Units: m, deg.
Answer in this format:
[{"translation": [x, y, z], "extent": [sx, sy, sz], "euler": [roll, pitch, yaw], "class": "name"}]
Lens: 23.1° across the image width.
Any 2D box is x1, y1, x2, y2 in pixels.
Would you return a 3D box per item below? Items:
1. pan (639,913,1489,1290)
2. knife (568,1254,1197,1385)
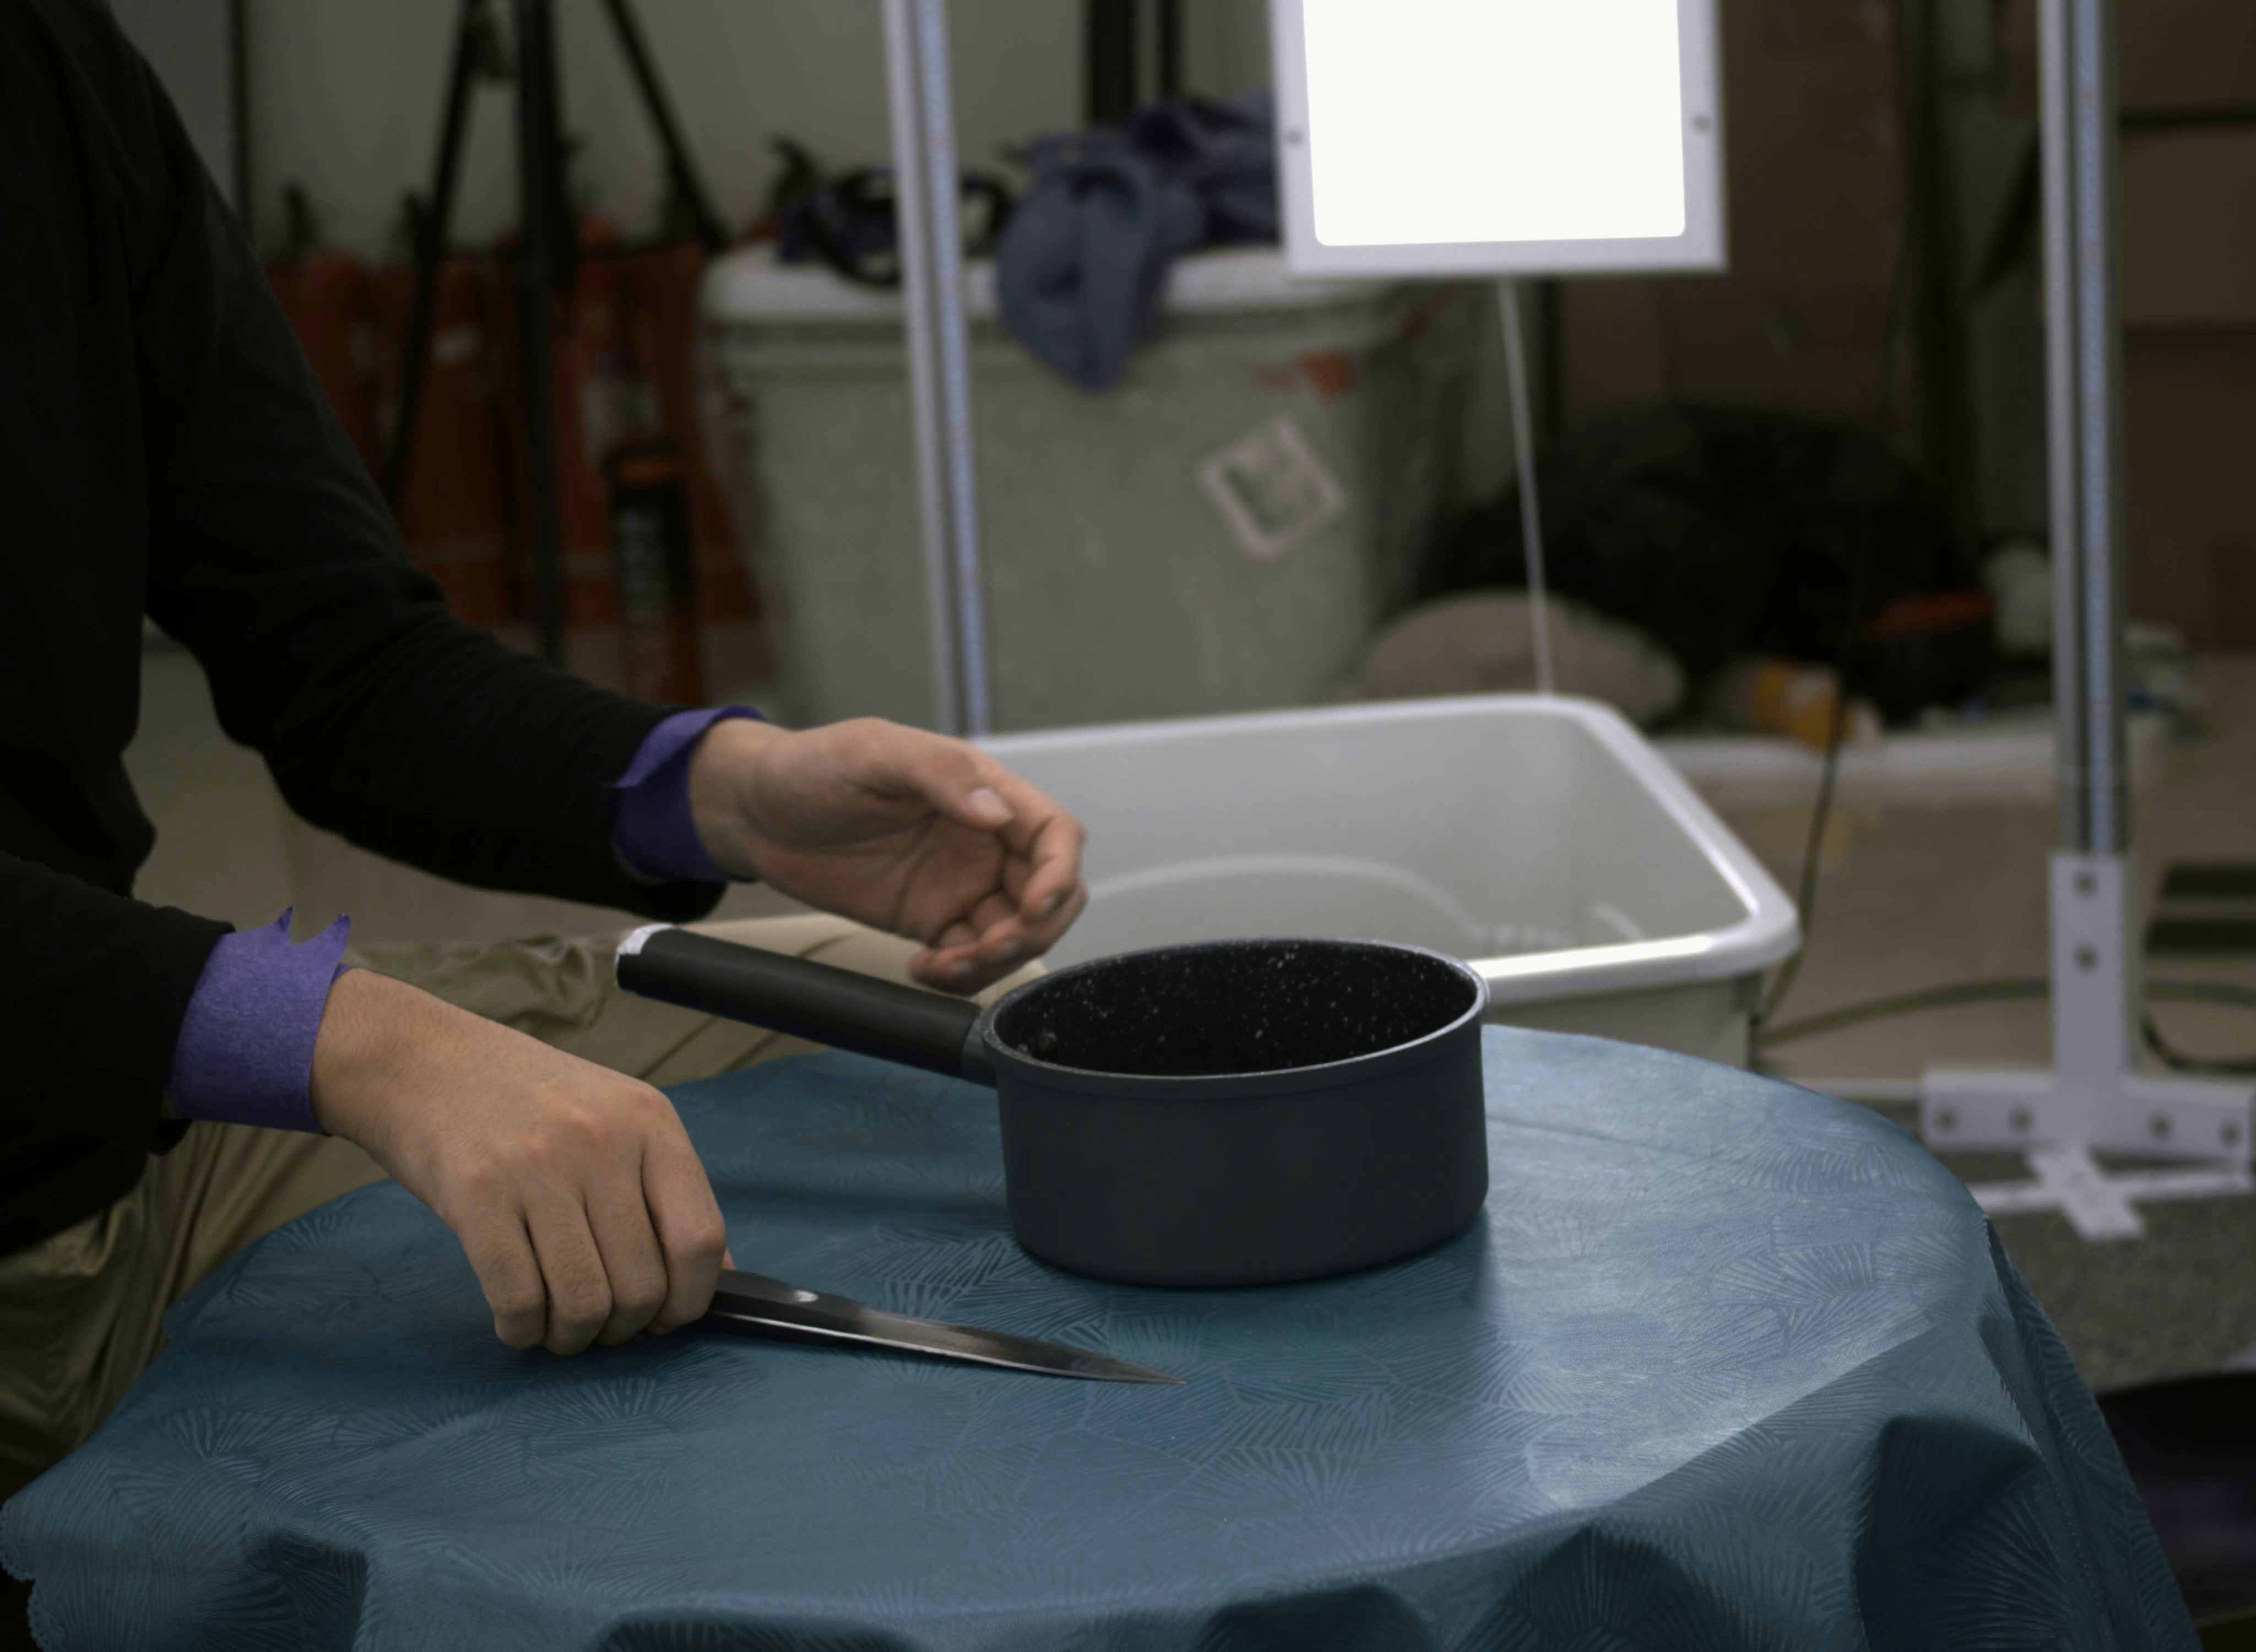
[{"translation": [-0.029, 0.087, 1.895], "extent": [0.335, 0.087, 0.168], "euler": [5, 17, 33], "class": "pan"}, {"translation": [-0.083, 0.161, 1.767], "extent": [0.242, 0.016, 0.024], "euler": [7, 18, 31], "class": "knife"}]
